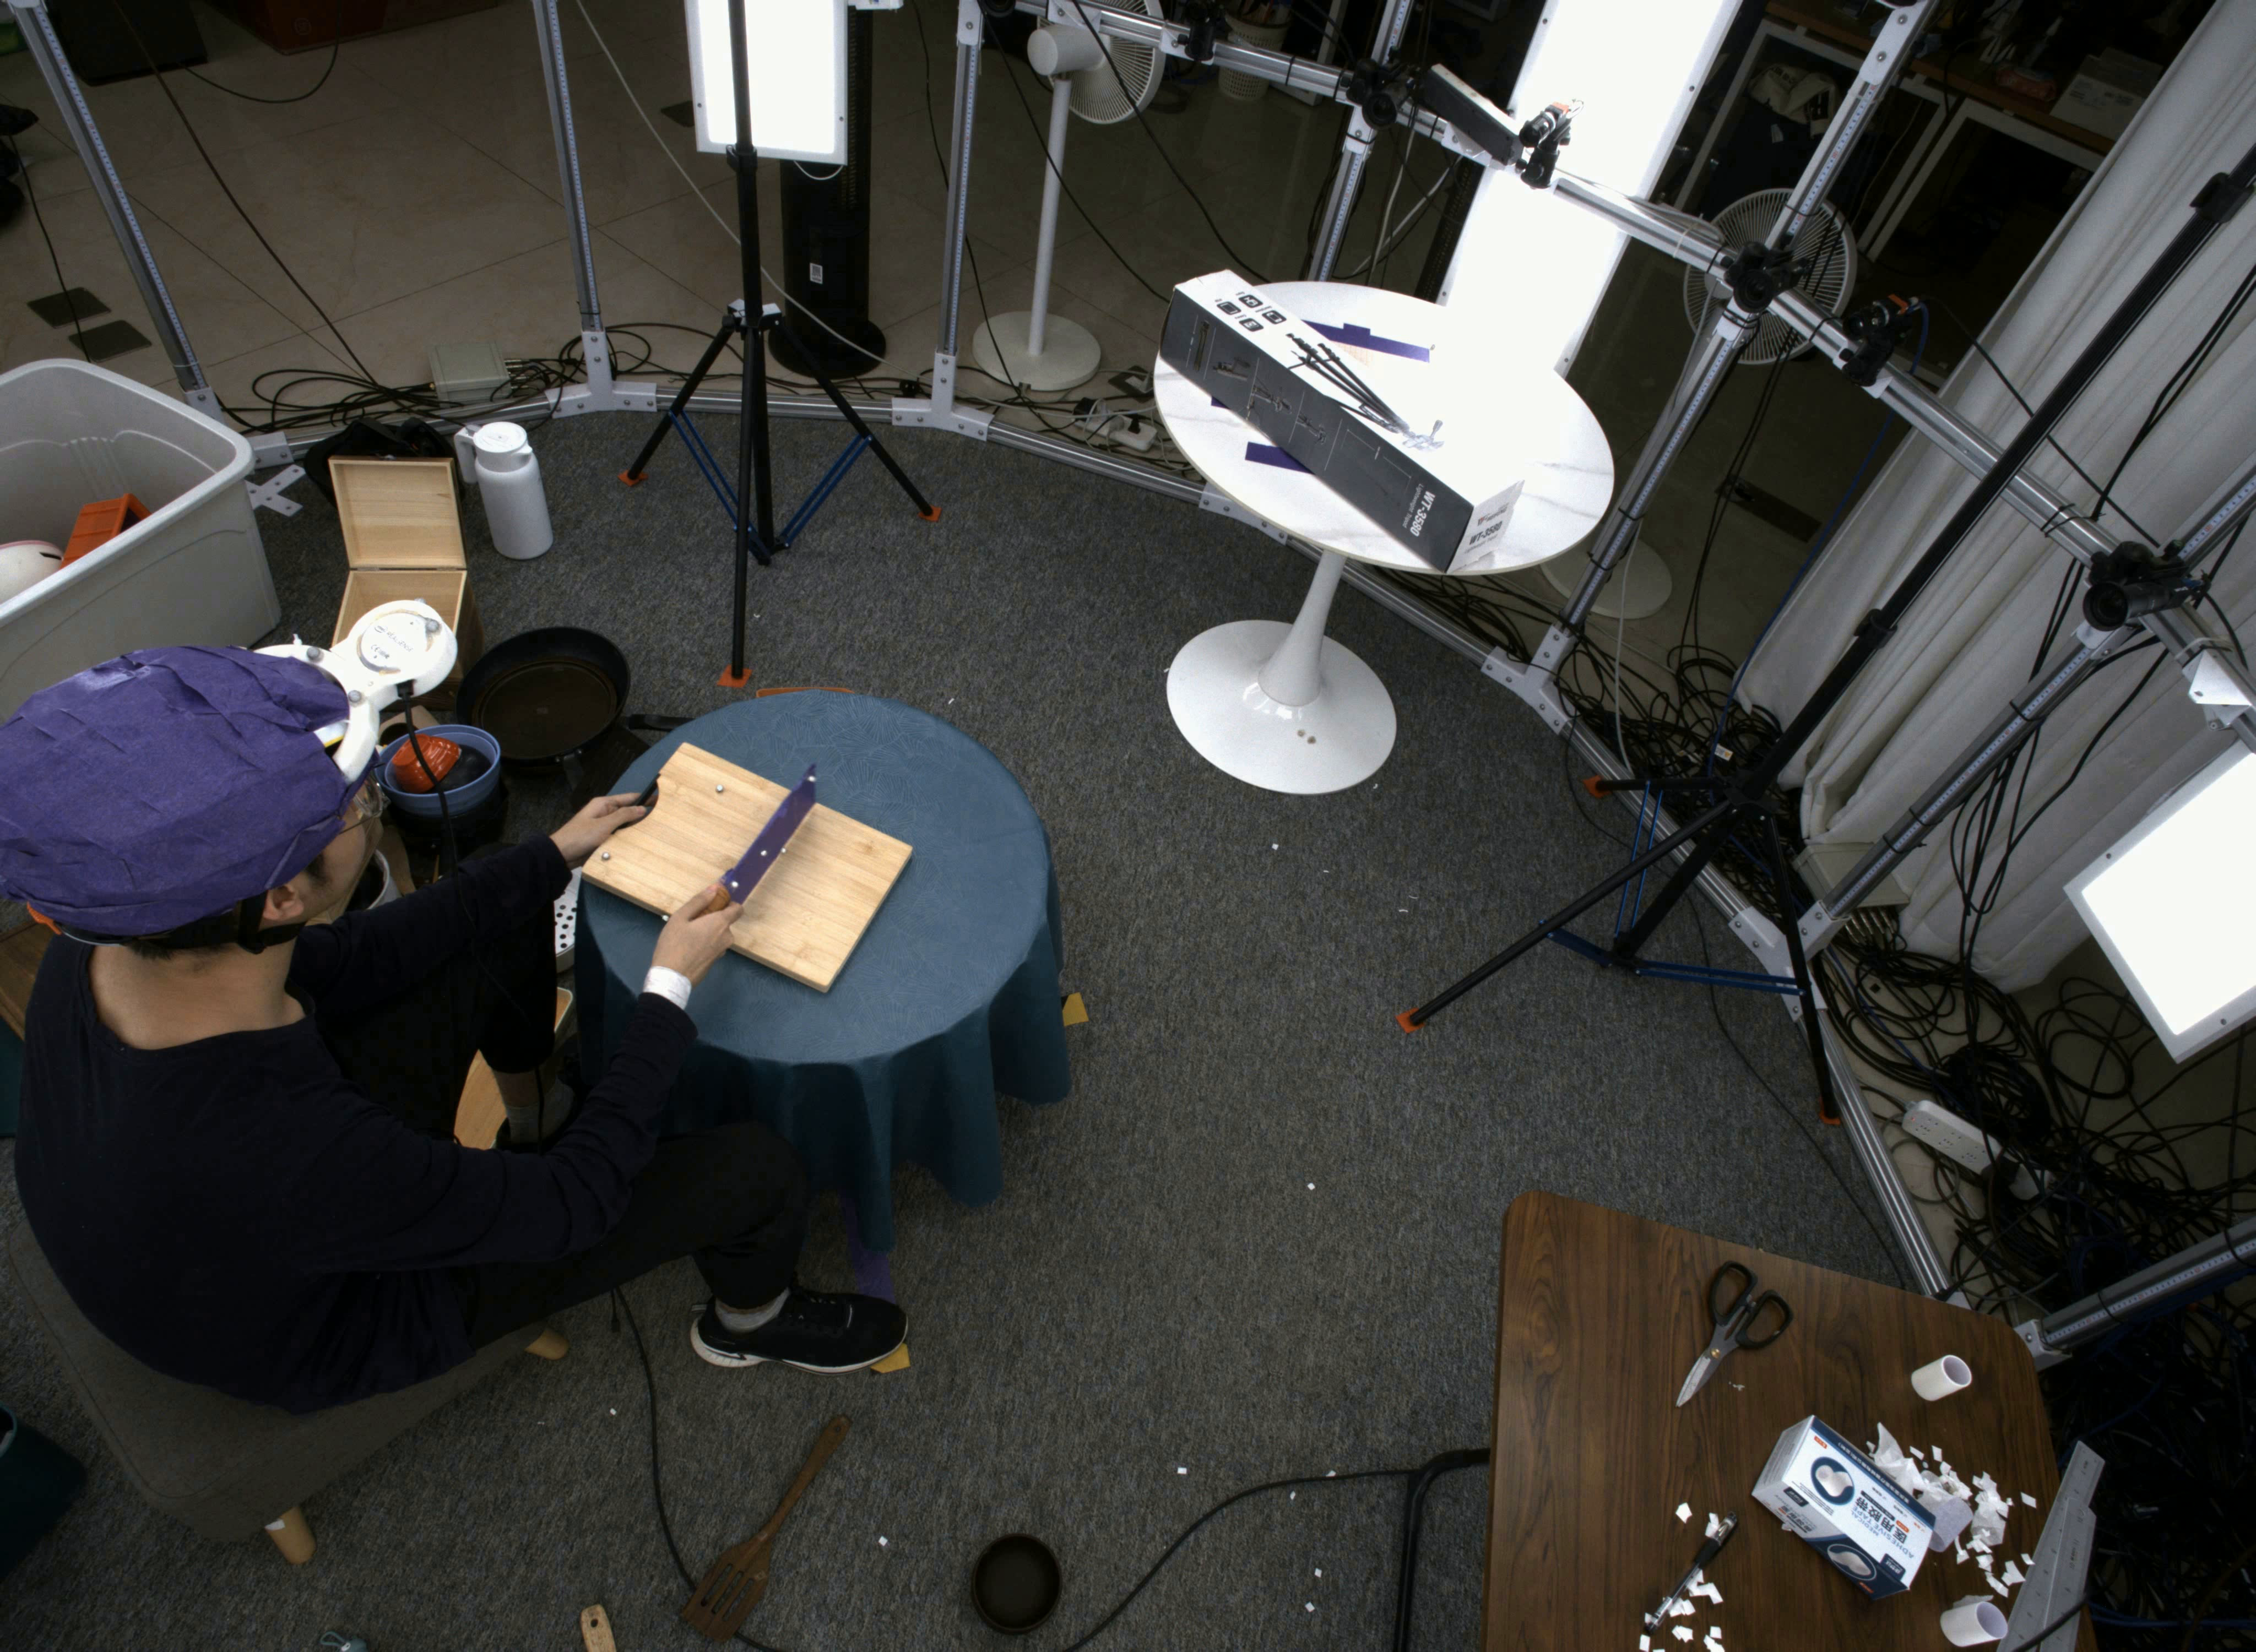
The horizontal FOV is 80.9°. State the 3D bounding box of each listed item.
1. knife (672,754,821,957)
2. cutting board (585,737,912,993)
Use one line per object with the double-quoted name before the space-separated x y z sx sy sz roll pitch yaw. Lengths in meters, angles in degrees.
"knife" -0.457 0.048 1.587 0.032 0.106 0.313 23 52 7
"cutting board" -0.484 0.043 1.659 0.347 0.024 0.248 25 52 -2
